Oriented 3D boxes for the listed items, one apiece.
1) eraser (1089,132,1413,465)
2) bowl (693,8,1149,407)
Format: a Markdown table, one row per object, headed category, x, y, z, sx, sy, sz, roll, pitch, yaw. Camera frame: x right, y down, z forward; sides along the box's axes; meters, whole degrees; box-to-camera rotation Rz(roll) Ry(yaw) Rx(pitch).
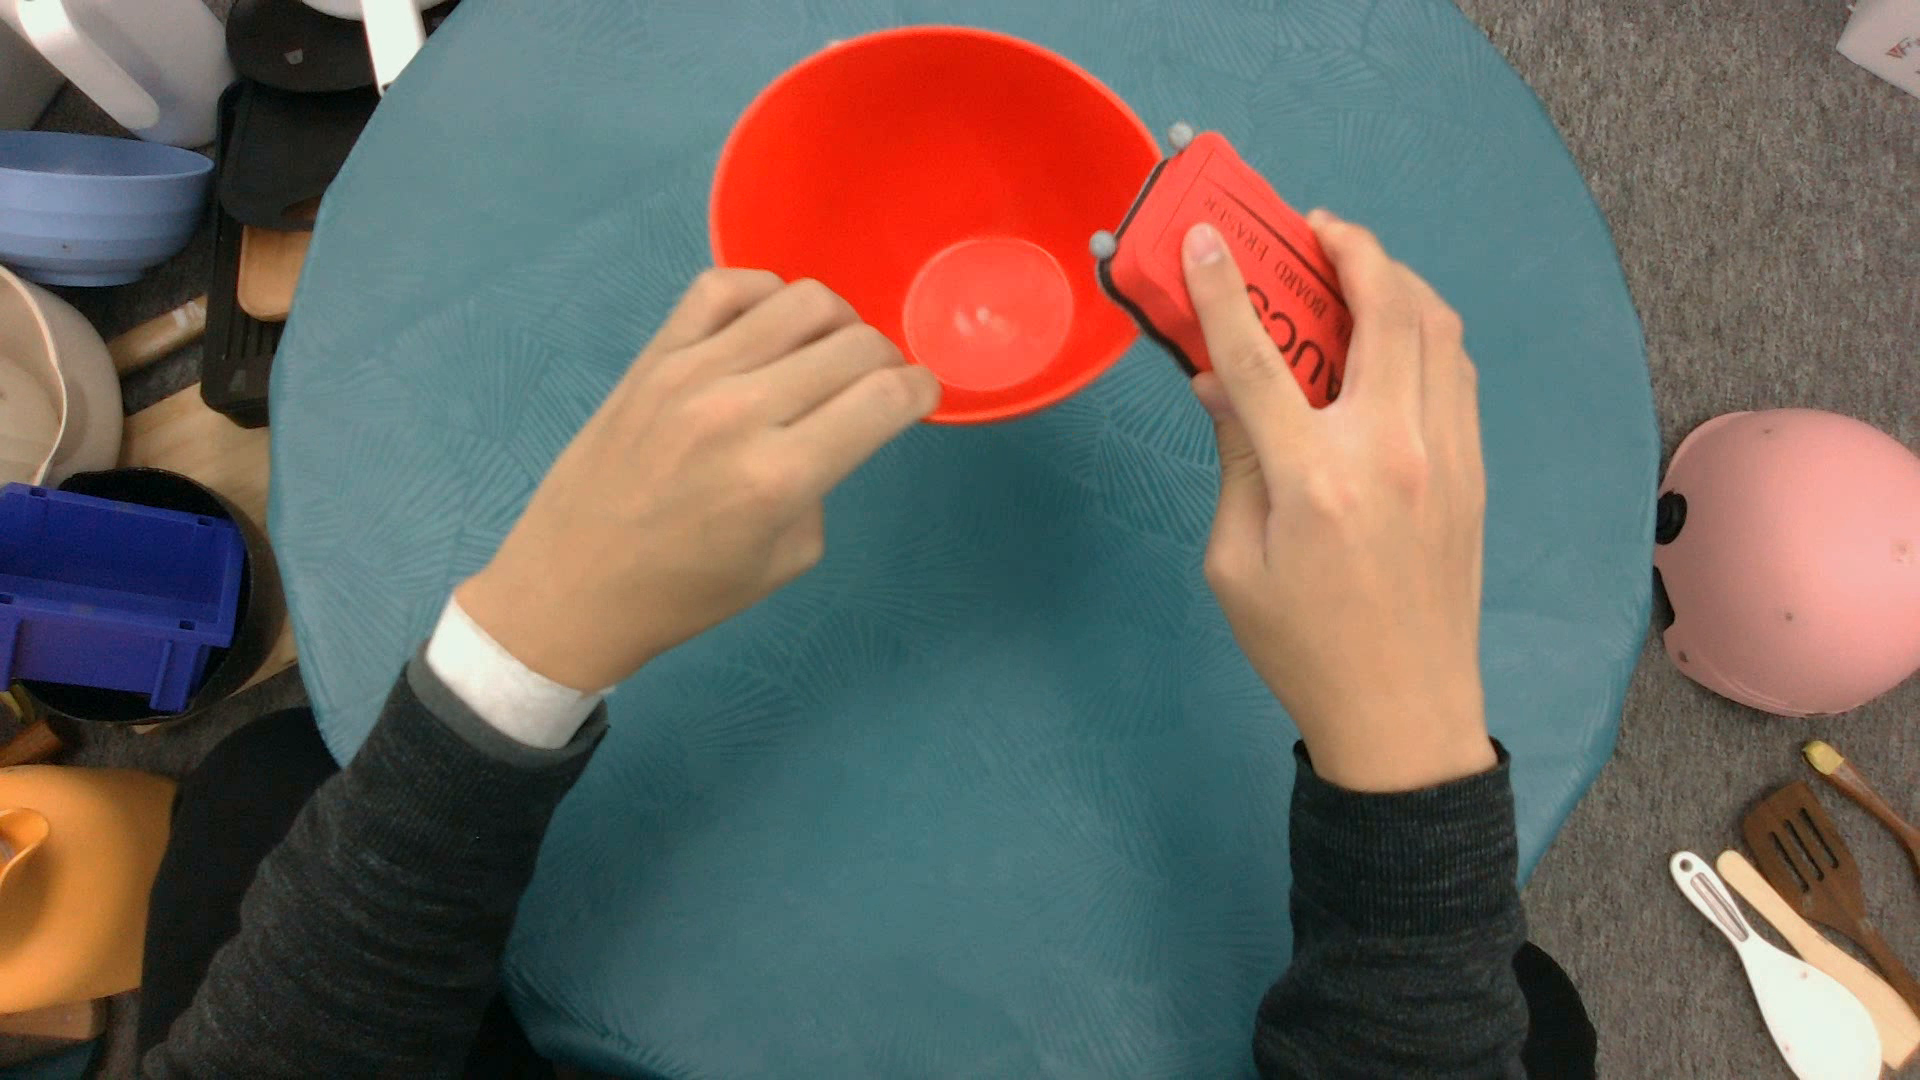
| category | x | y | z | sx | sy | sz | roll | pitch | yaw |
| --- | --- | --- | --- | --- | --- | --- | --- | --- | --- |
| eraser | 0.094 | -0.076 | 0.439 | 0.108 | 0.023 | 0.059 | 37 | 65 | -18 |
| bowl | -0.008 | -0.101 | 0.481 | 0.148 | 0.104 | 0.148 | -1 | 74 | 4 |
